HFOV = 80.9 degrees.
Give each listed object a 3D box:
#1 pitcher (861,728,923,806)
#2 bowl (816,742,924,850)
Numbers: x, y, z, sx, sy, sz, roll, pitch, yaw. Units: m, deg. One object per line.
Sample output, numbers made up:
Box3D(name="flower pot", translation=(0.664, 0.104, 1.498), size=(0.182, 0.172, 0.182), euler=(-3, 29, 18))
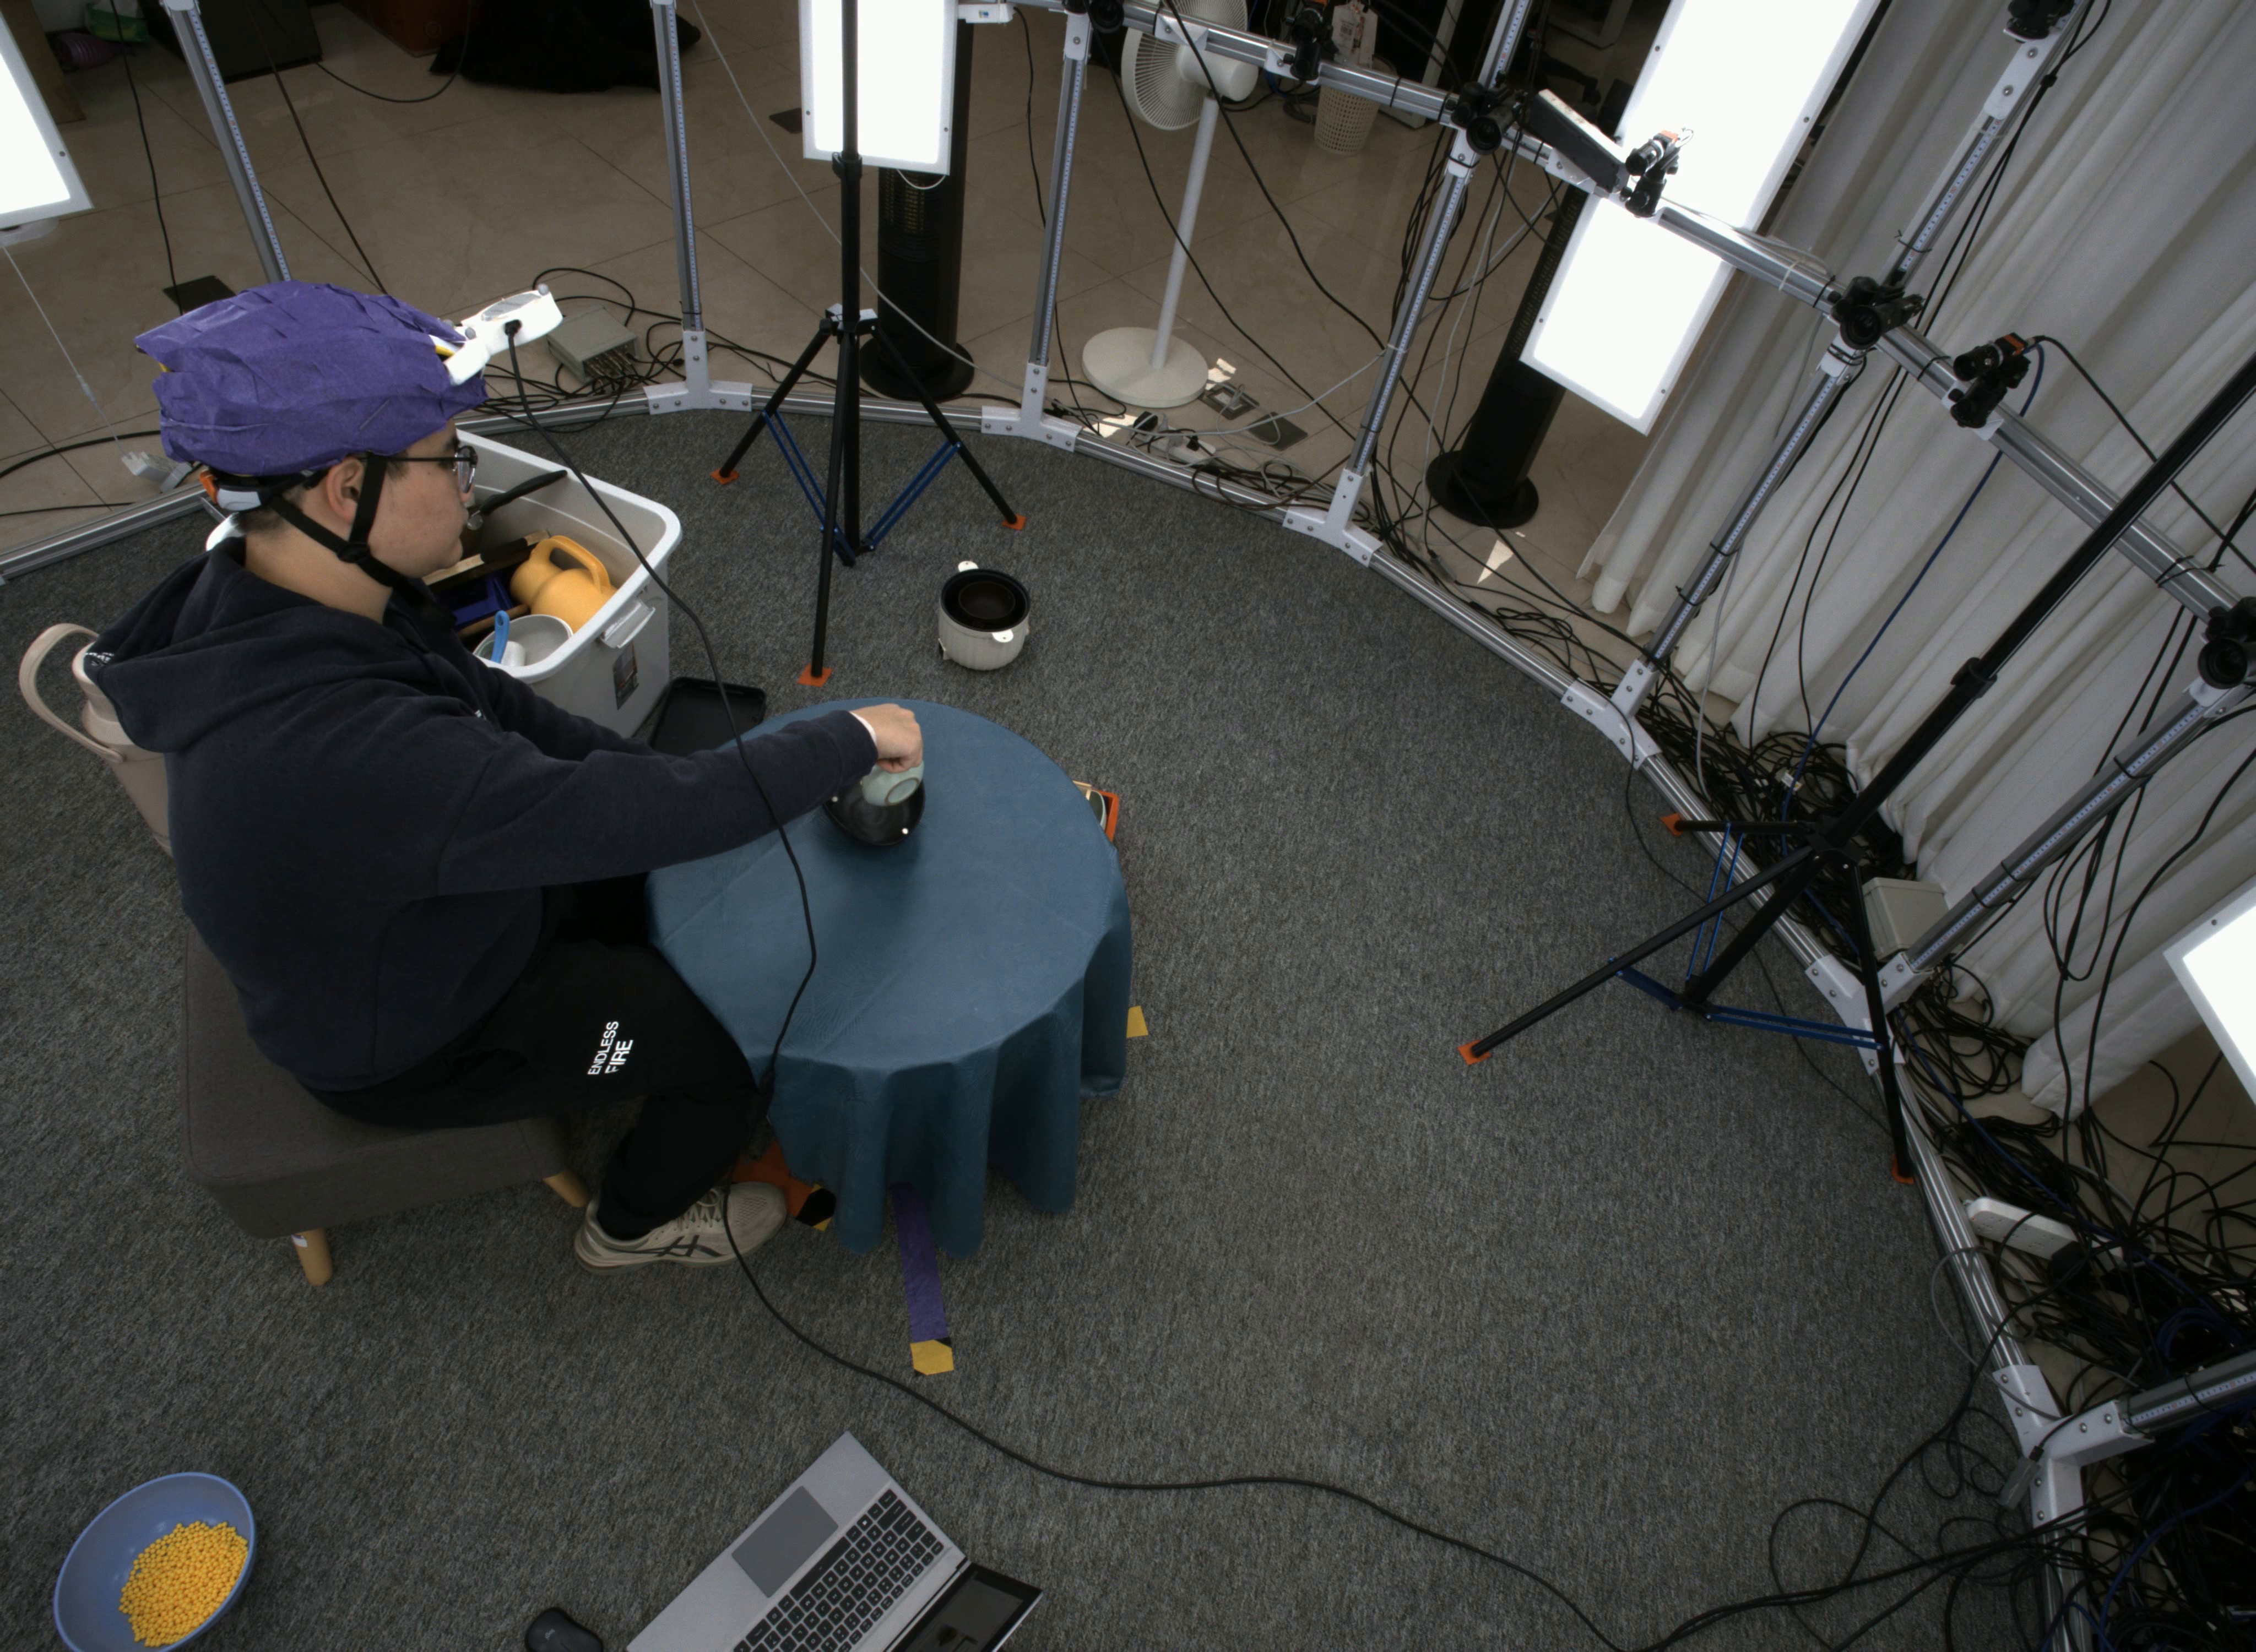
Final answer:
Box3D(name="pitcher", translation=(-0.294, -0.072, 1.611), size=(0.086, 0.109, 0.059), euler=(-27, 69, -36))
Box3D(name="bowl", translation=(-0.340, -0.032, 1.725), size=(0.138, 0.068, 0.166), euler=(-19, 61, -25))
